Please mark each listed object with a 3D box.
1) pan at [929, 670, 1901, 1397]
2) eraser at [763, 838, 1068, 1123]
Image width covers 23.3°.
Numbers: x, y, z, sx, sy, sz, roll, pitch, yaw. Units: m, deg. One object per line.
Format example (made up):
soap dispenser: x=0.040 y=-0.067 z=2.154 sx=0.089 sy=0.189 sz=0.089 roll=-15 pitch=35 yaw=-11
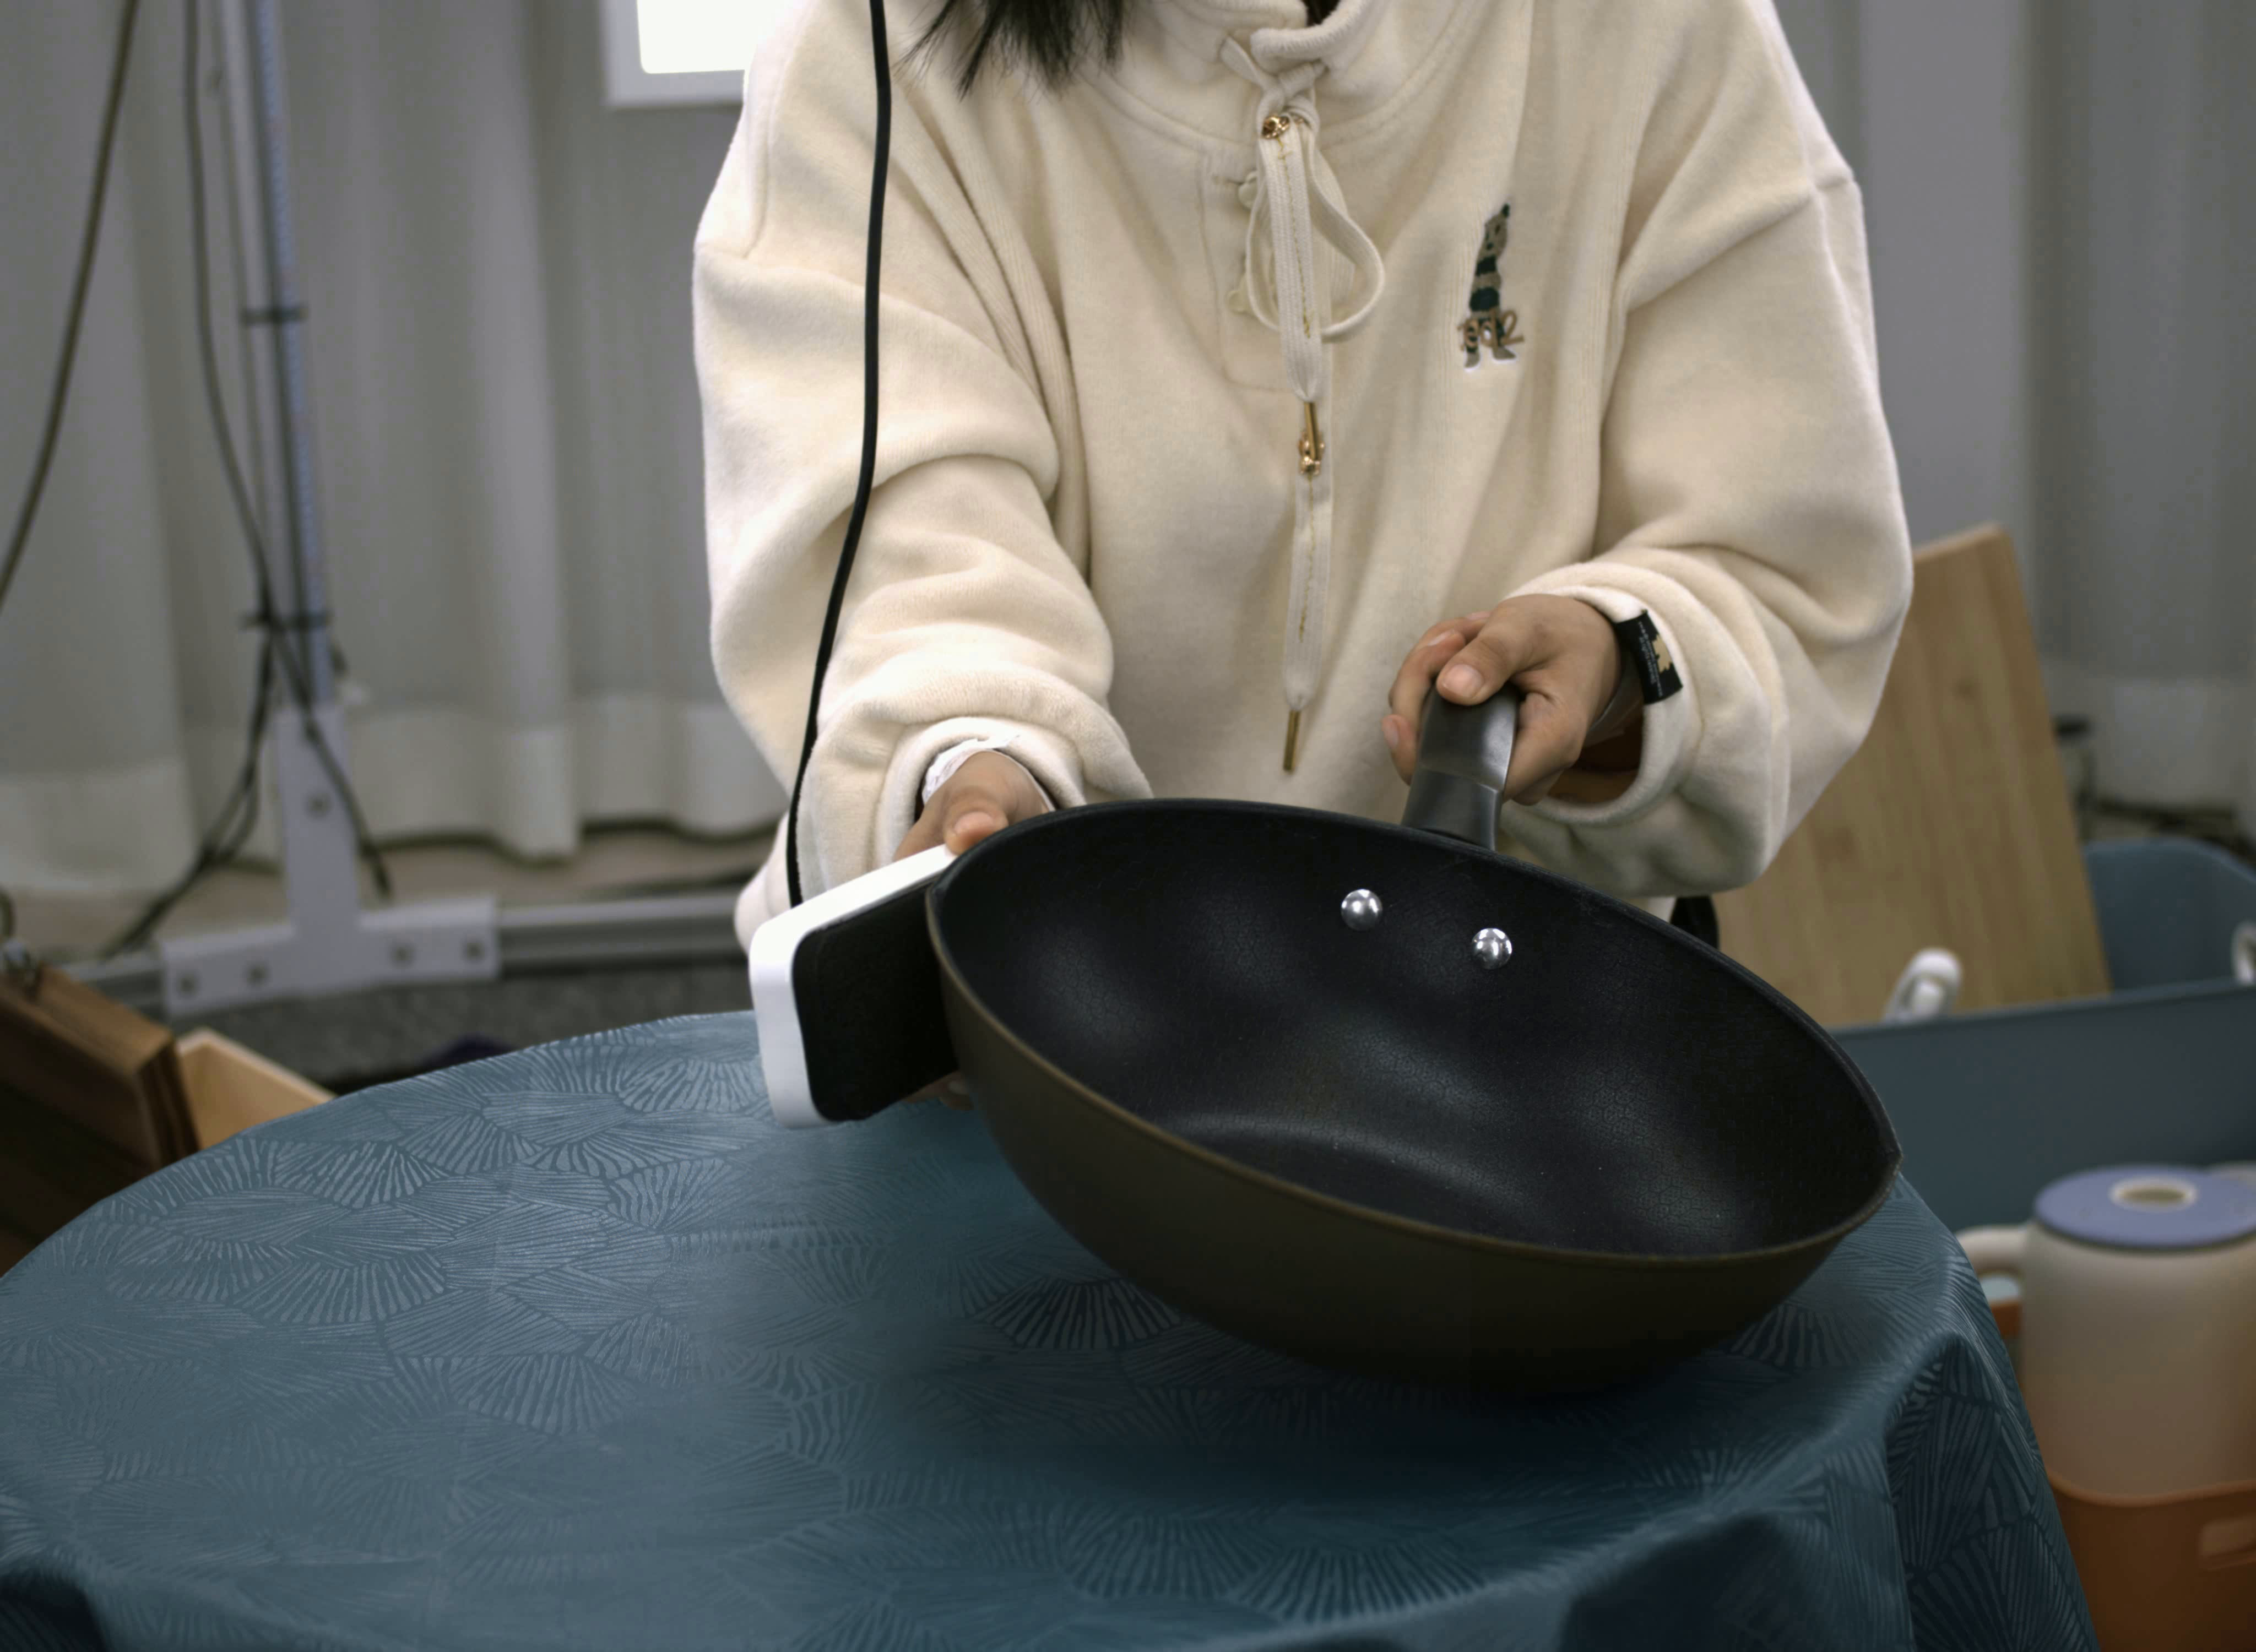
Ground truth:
pan: x=0.084 y=0.056 z=1.647 sx=0.287 sy=0.086 sz=0.467 roll=16 pitch=21 yaw=2
eraser: x=-0.063 y=0.043 z=1.588 sx=0.034 sy=0.063 sz=0.131 roll=0 pitch=13 yaw=30
